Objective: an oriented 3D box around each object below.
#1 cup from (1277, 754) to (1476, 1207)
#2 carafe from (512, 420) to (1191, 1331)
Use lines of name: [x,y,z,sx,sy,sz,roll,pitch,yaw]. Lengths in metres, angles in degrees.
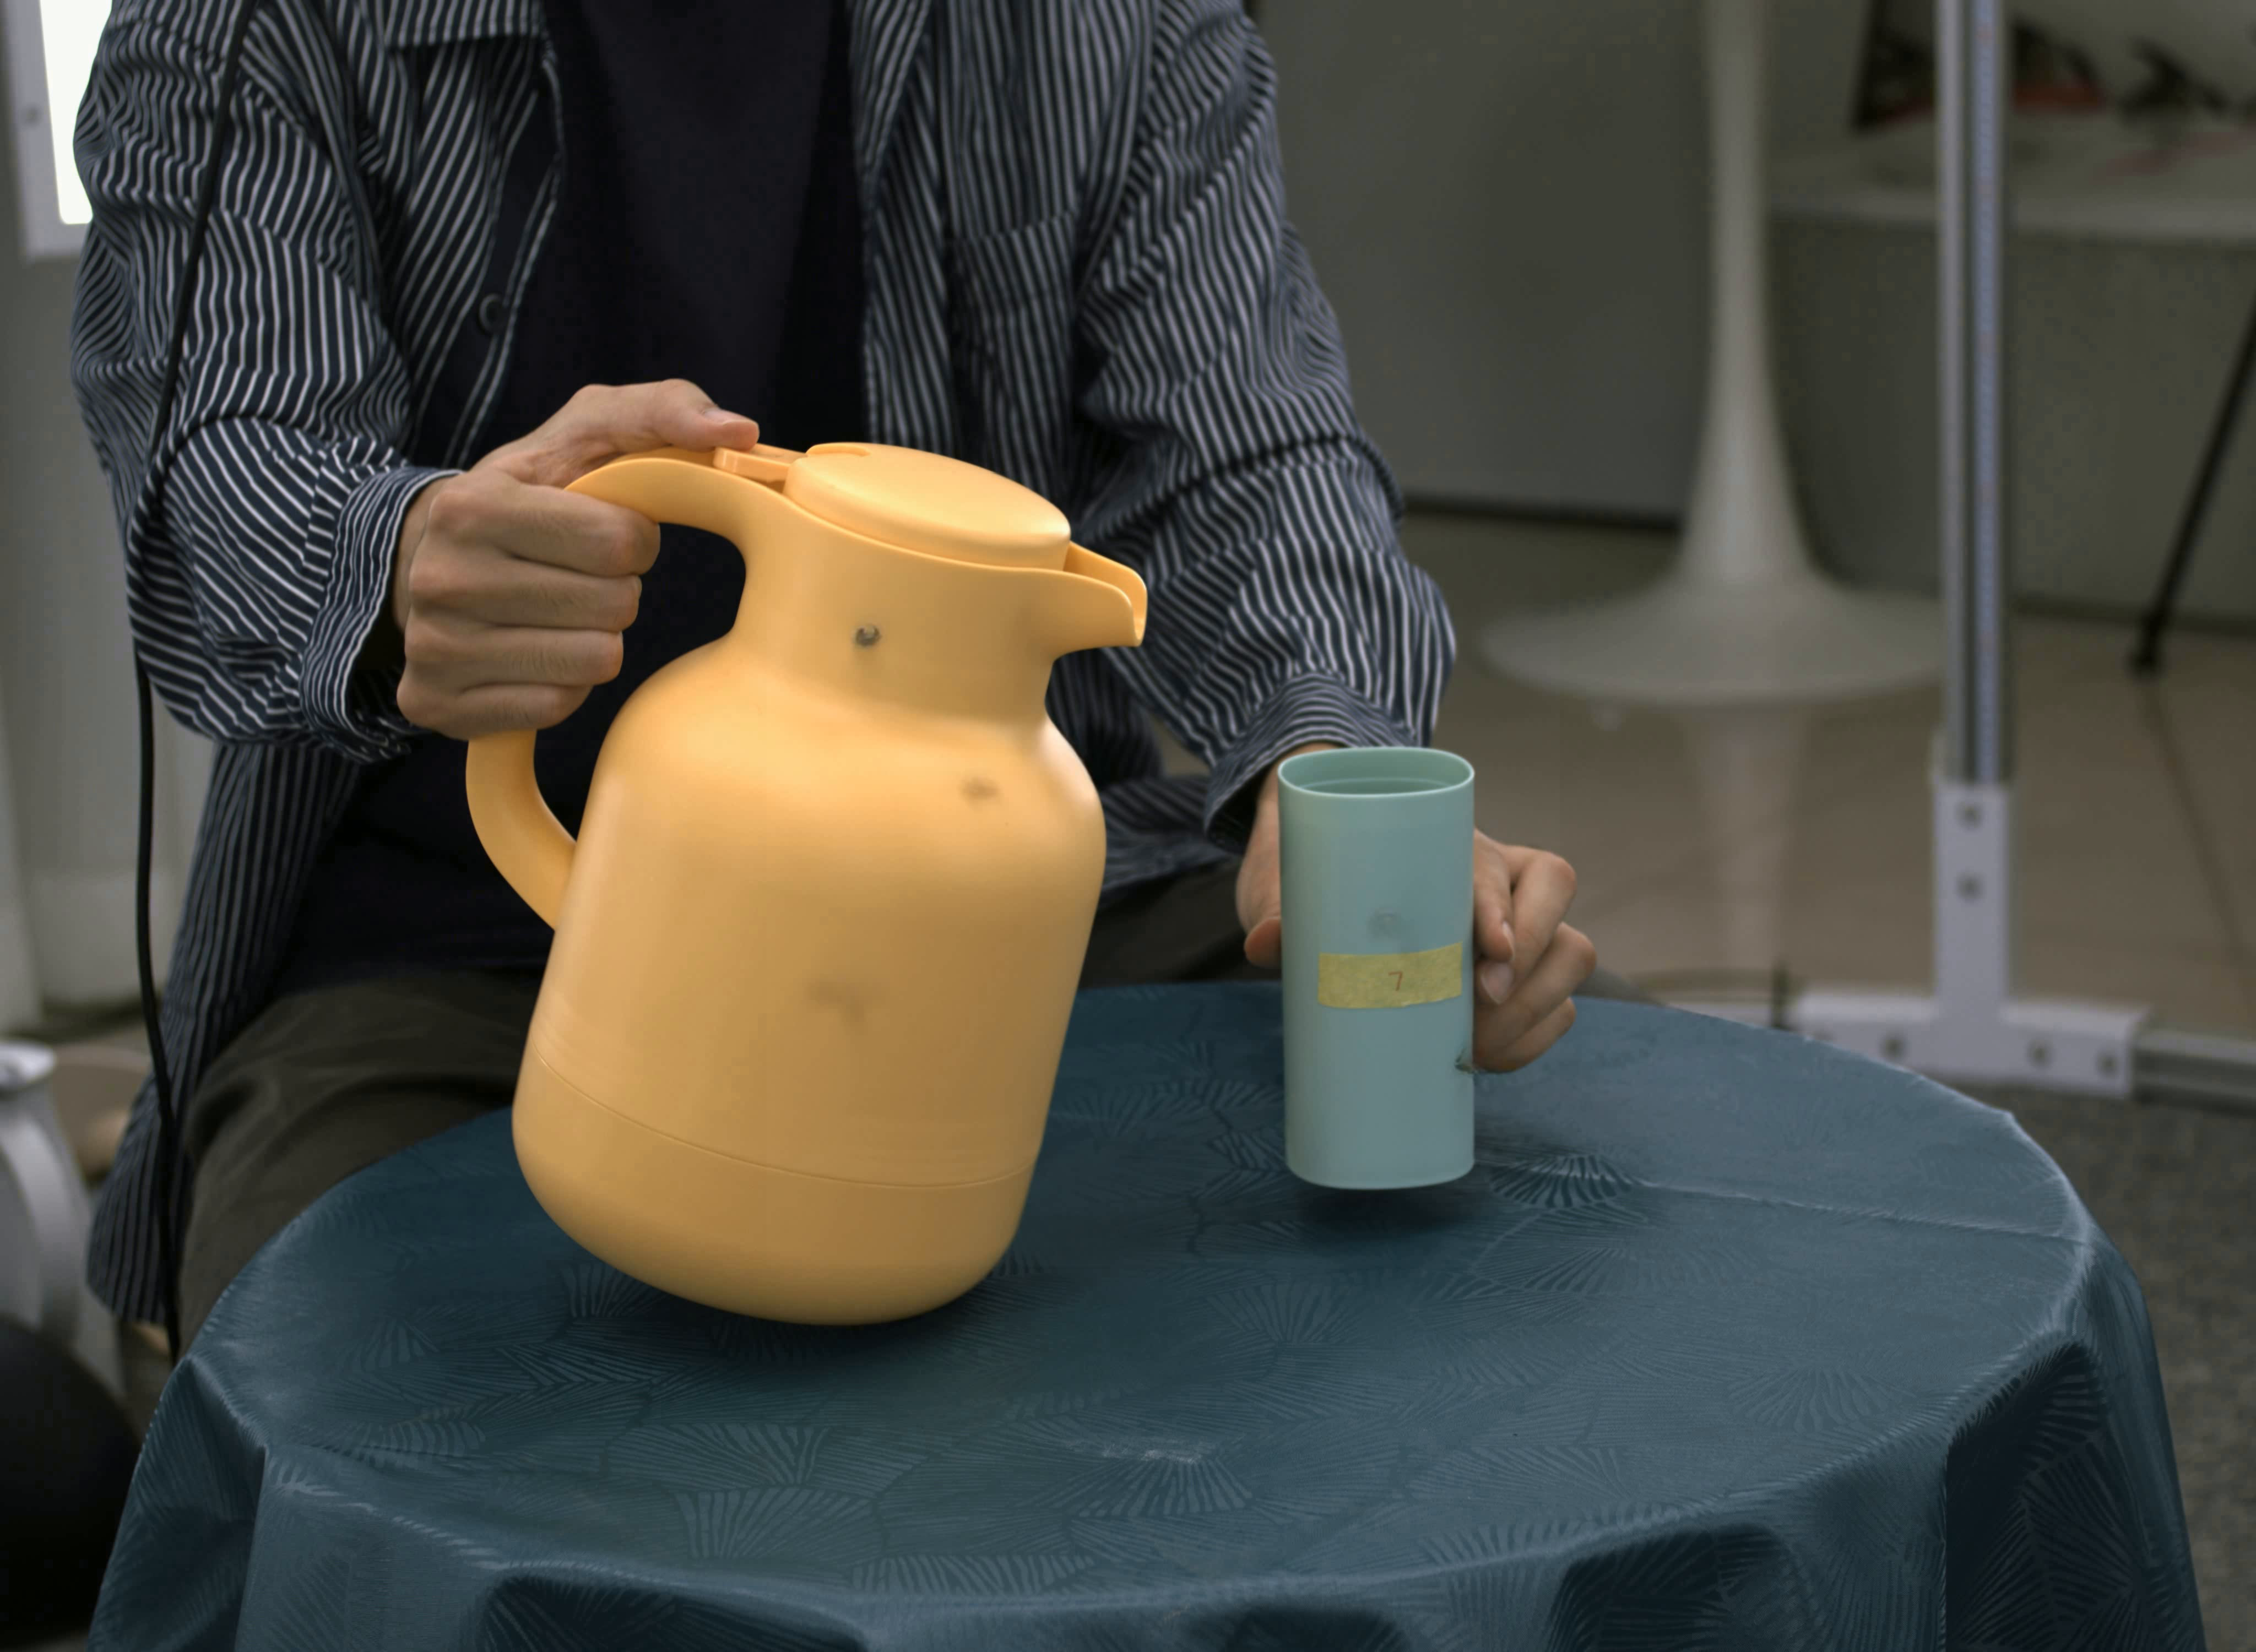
cup: [0.080,0.048,1.712,0.066,0.134,0.067,-2,13,0]
carafe: [-0.093,0.007,1.660,0.201,0.263,0.162,16,14,7]
